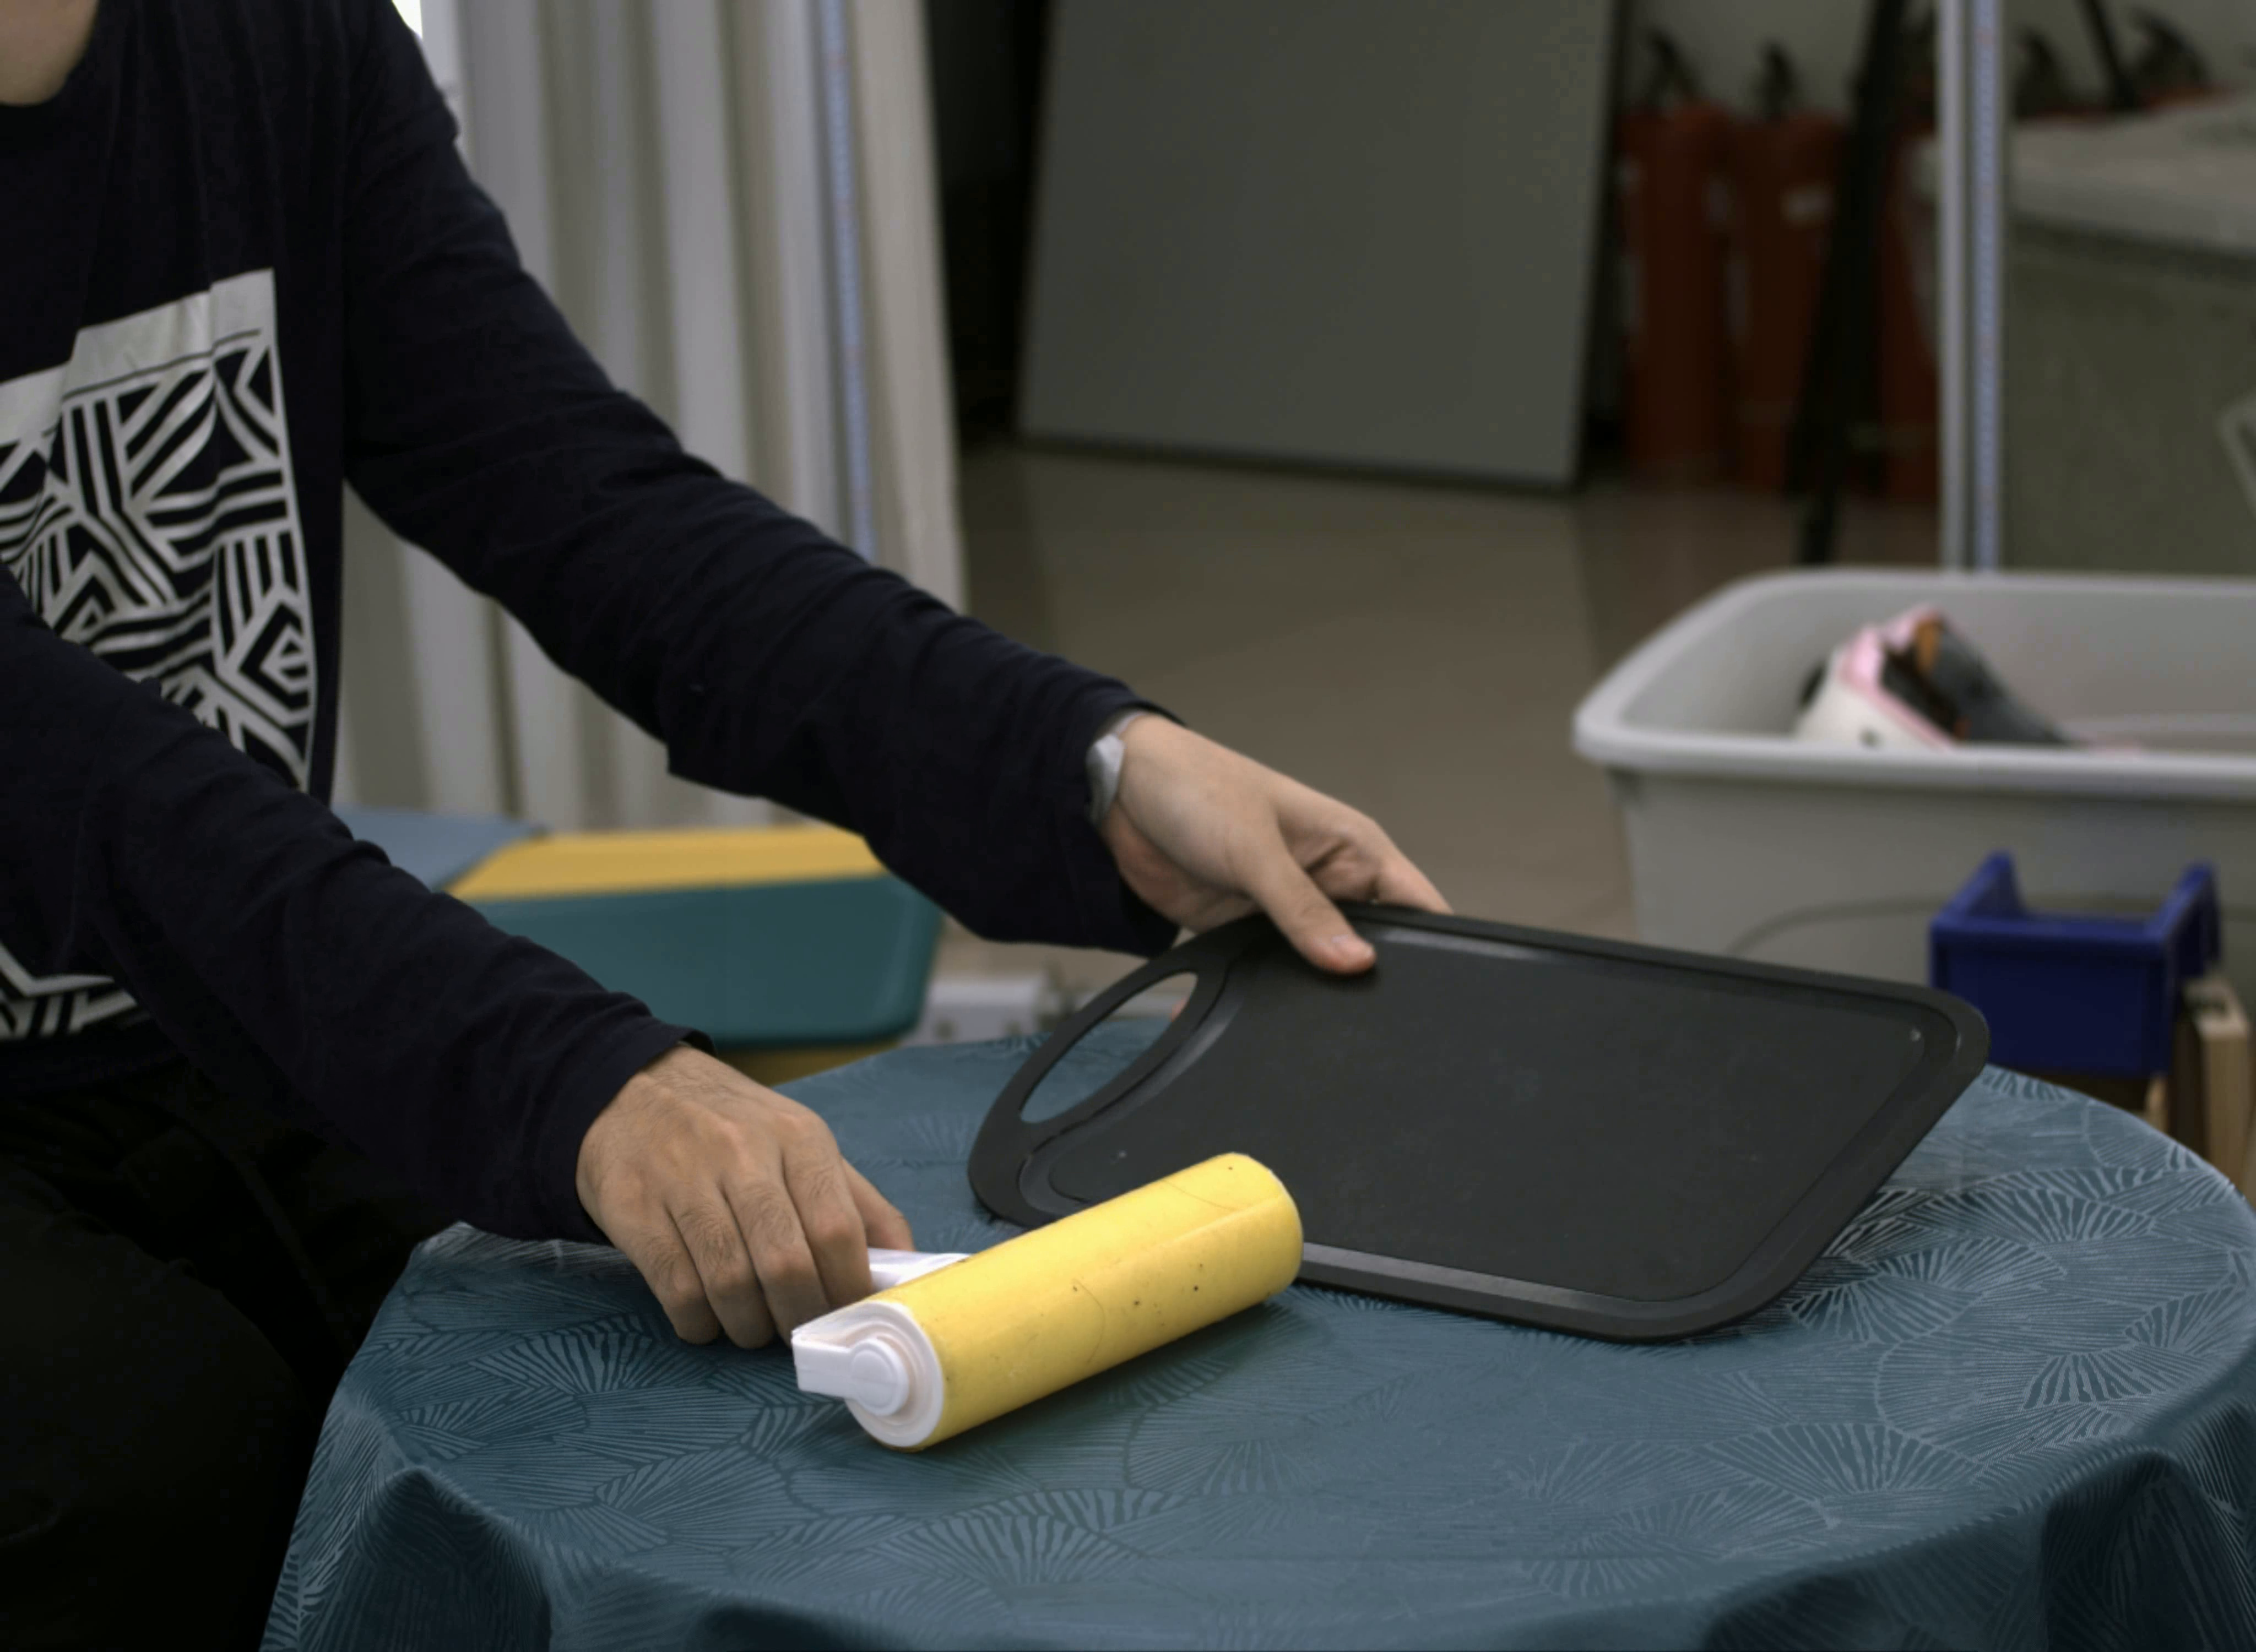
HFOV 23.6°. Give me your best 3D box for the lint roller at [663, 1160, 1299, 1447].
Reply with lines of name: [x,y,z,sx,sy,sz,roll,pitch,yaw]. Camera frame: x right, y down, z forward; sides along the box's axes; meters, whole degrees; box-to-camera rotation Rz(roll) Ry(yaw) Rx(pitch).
lint roller: [-0.071,0.132,1.646,0.193,0.052,0.171,11,19,40]

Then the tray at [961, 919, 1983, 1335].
tray: [0.101,0.091,1.740,0.327,0.010,0.208,7,32,37]
